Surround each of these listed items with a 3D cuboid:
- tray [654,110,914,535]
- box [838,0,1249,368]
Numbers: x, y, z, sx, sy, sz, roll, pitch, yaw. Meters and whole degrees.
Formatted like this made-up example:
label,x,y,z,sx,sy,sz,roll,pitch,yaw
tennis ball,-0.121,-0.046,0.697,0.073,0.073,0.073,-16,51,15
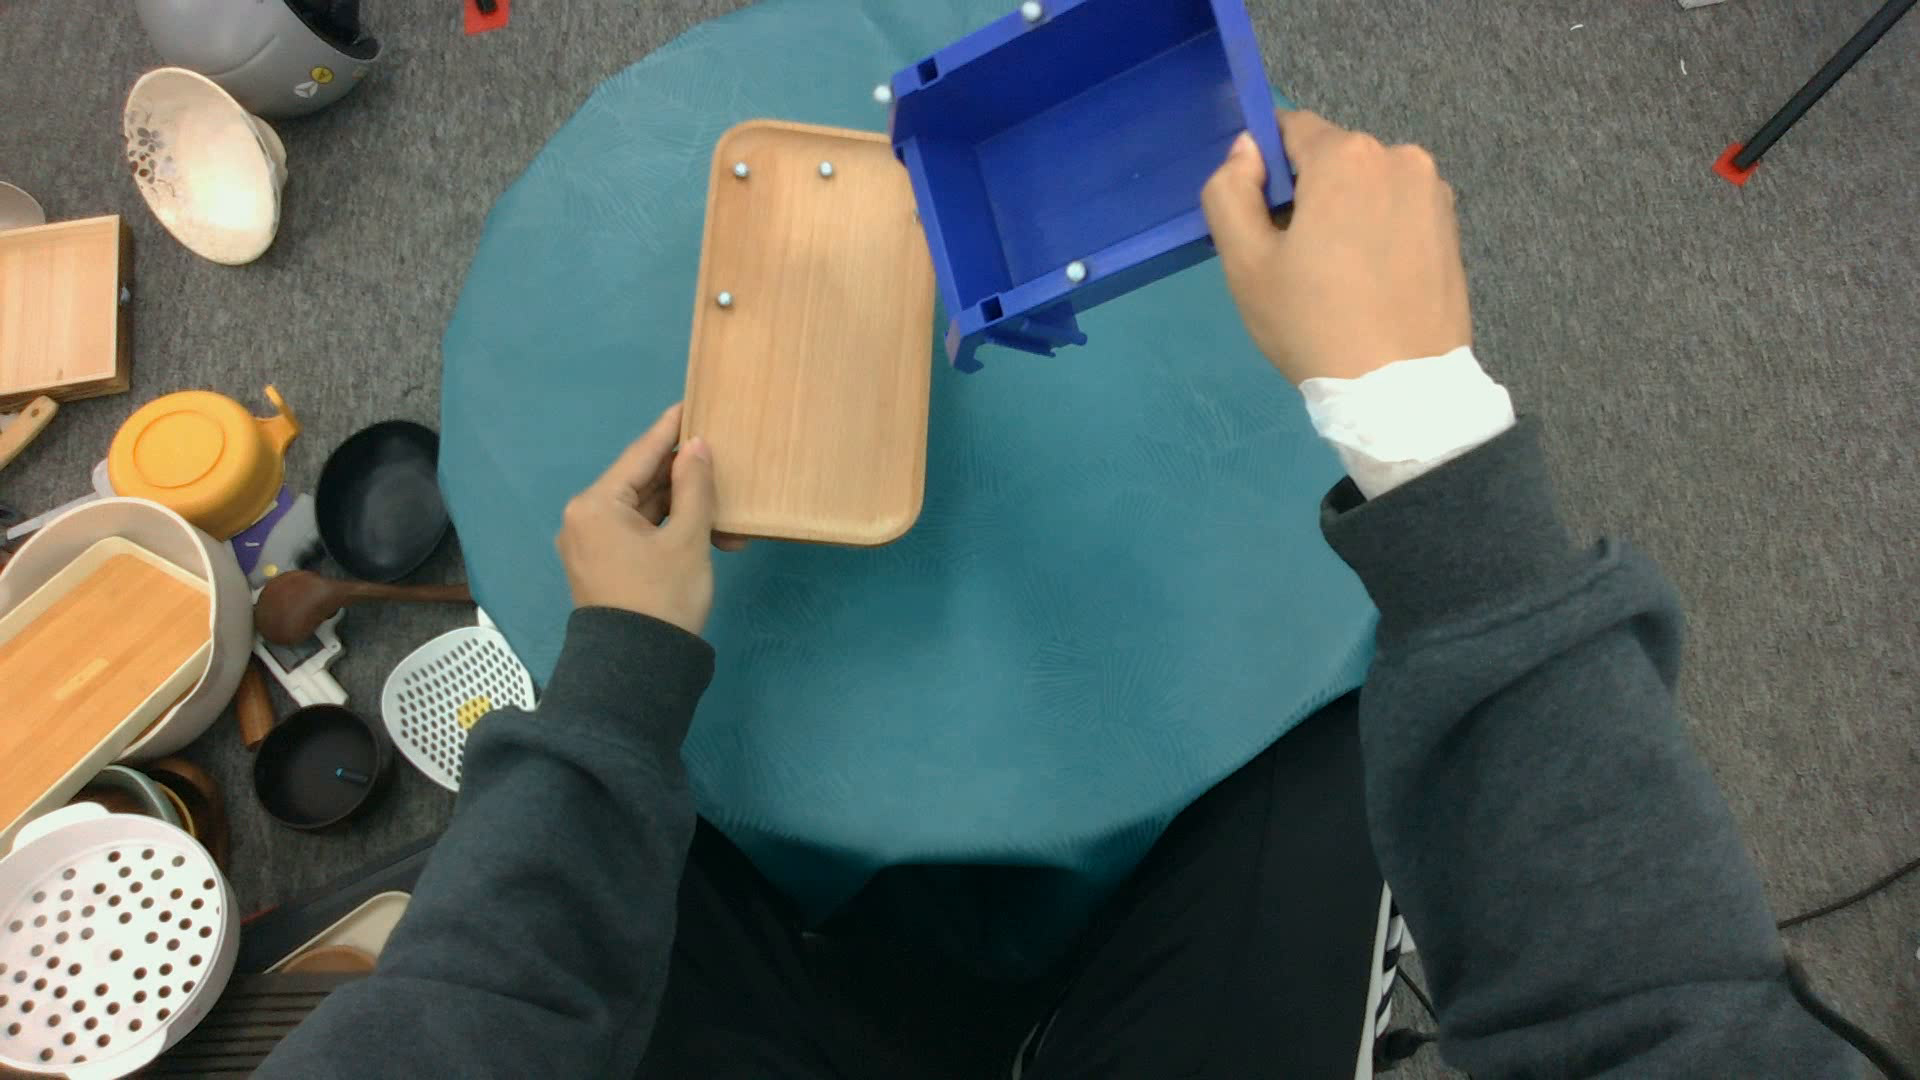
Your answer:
label,x,y,z,sx,sy,sz,roll,pitch,yaw
tray,-0.088,-0.121,0.738,0.130,0.023,0.251,4,69,-5
box,0.032,-0.160,0.608,0.179,0.082,0.124,-17,84,23
